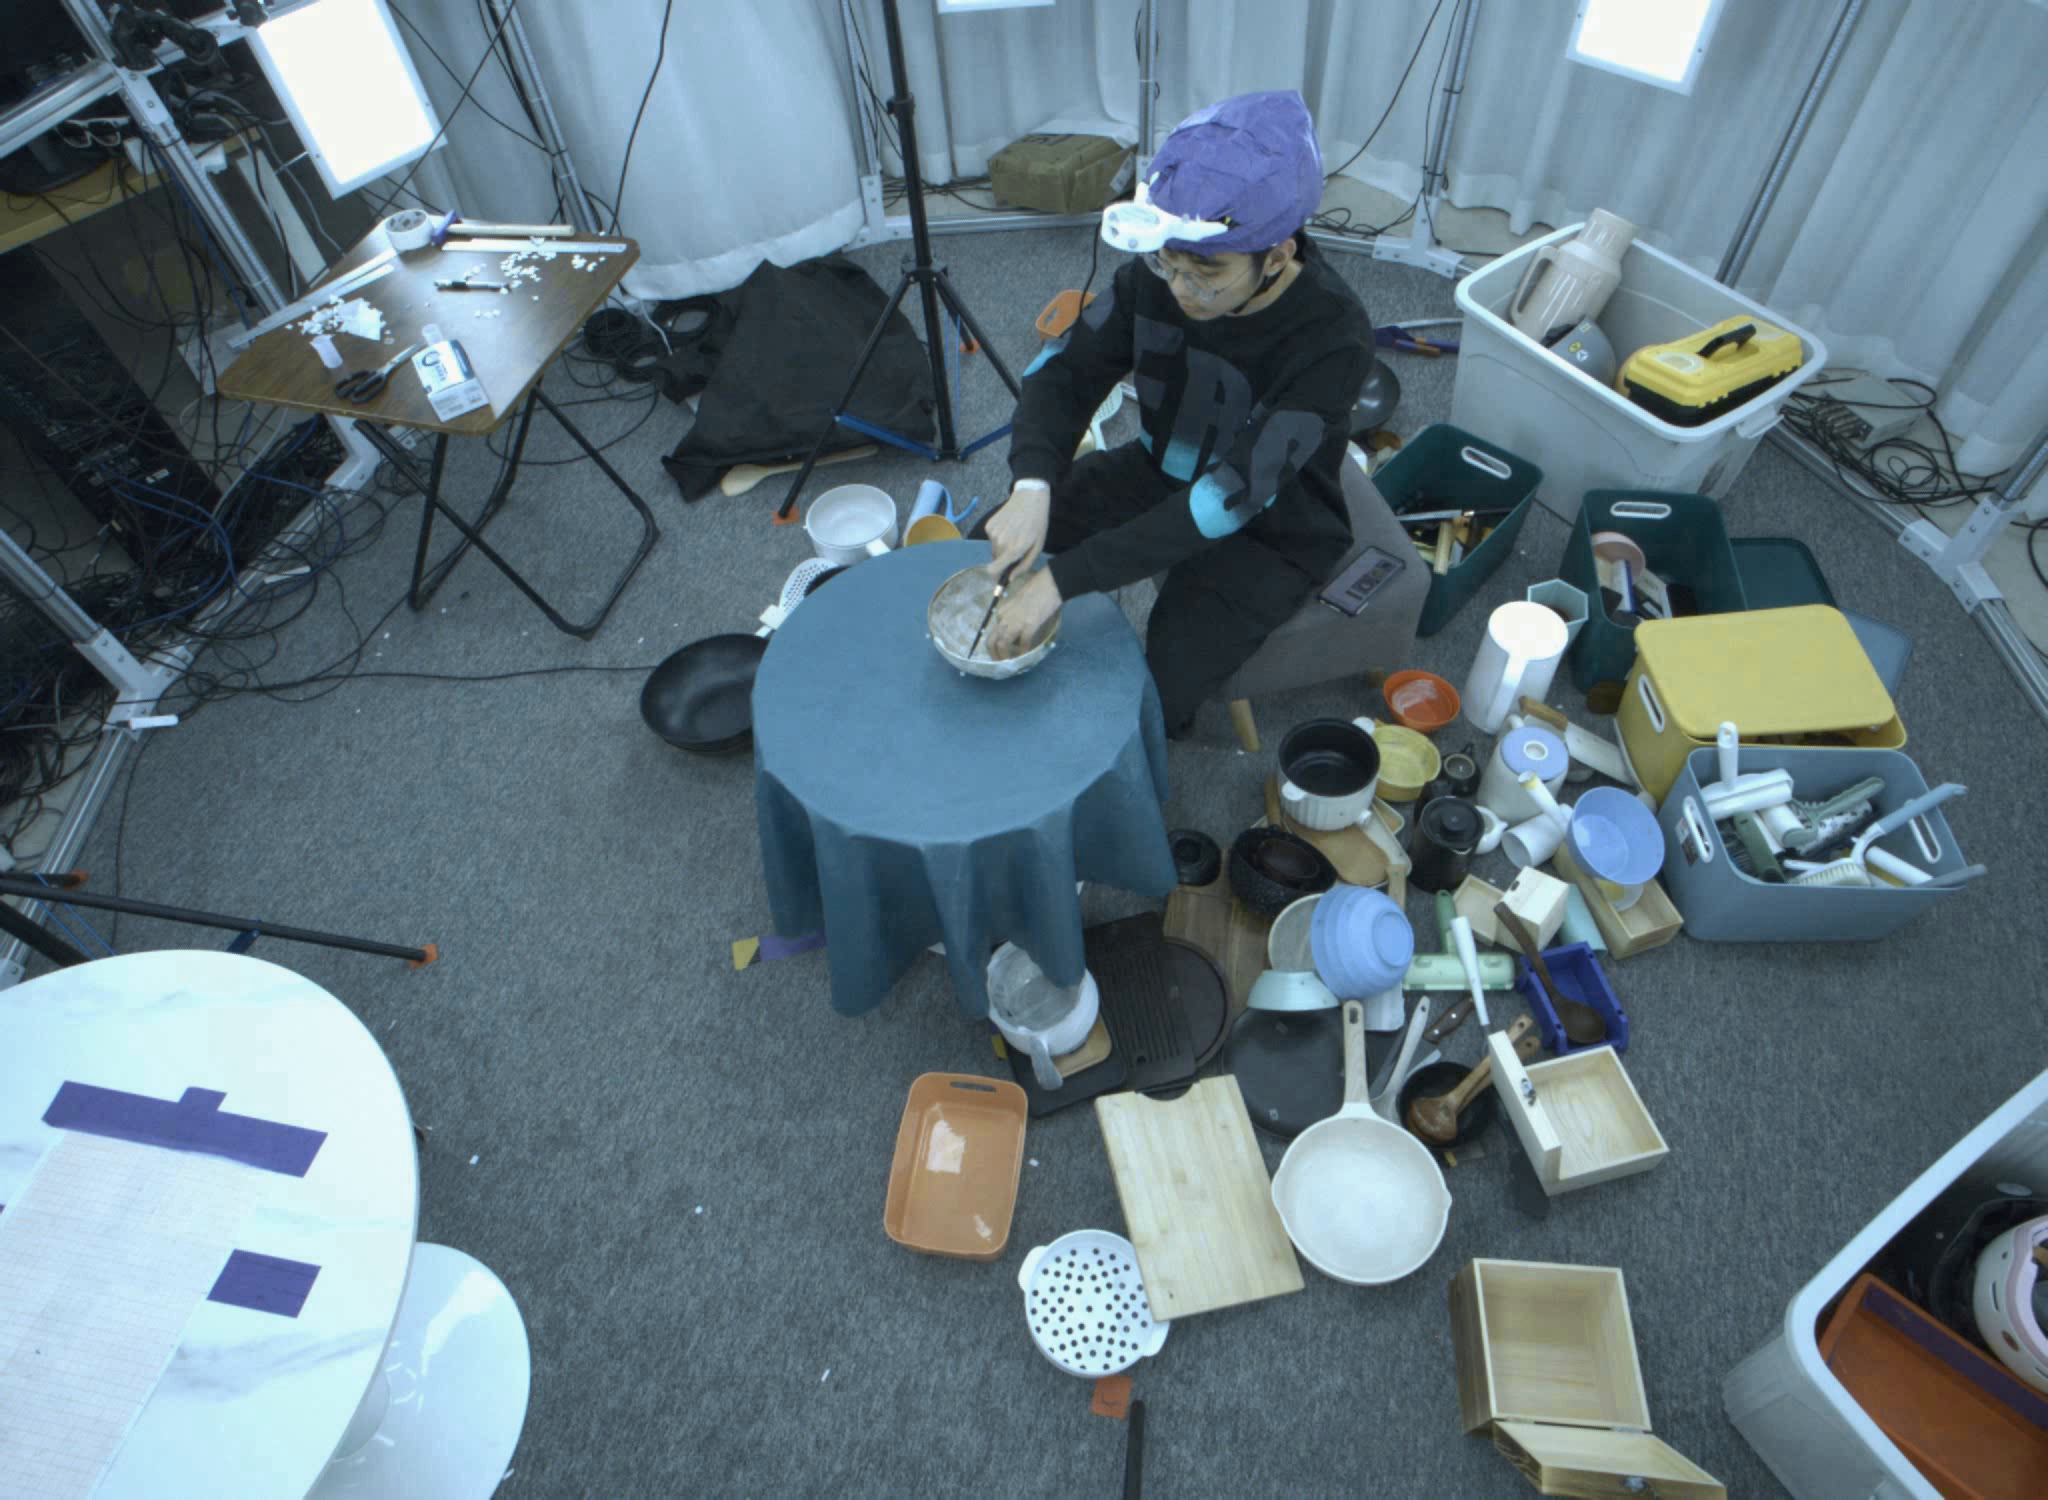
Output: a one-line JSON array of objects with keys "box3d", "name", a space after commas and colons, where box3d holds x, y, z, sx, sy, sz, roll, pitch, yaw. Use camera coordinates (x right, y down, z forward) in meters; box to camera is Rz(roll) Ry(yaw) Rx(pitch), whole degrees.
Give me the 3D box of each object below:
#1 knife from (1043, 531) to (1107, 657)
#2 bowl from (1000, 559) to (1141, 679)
[{"box3d": [0.071, -0.225, 1.836, 0.017, 0.026, 0.225, 25, 89, 9], "name": "knife"}, {"box3d": [0.072, -0.183, 1.854, 0.214, 0.096, 0.212, -1, 55, 3], "name": "bowl"}]
